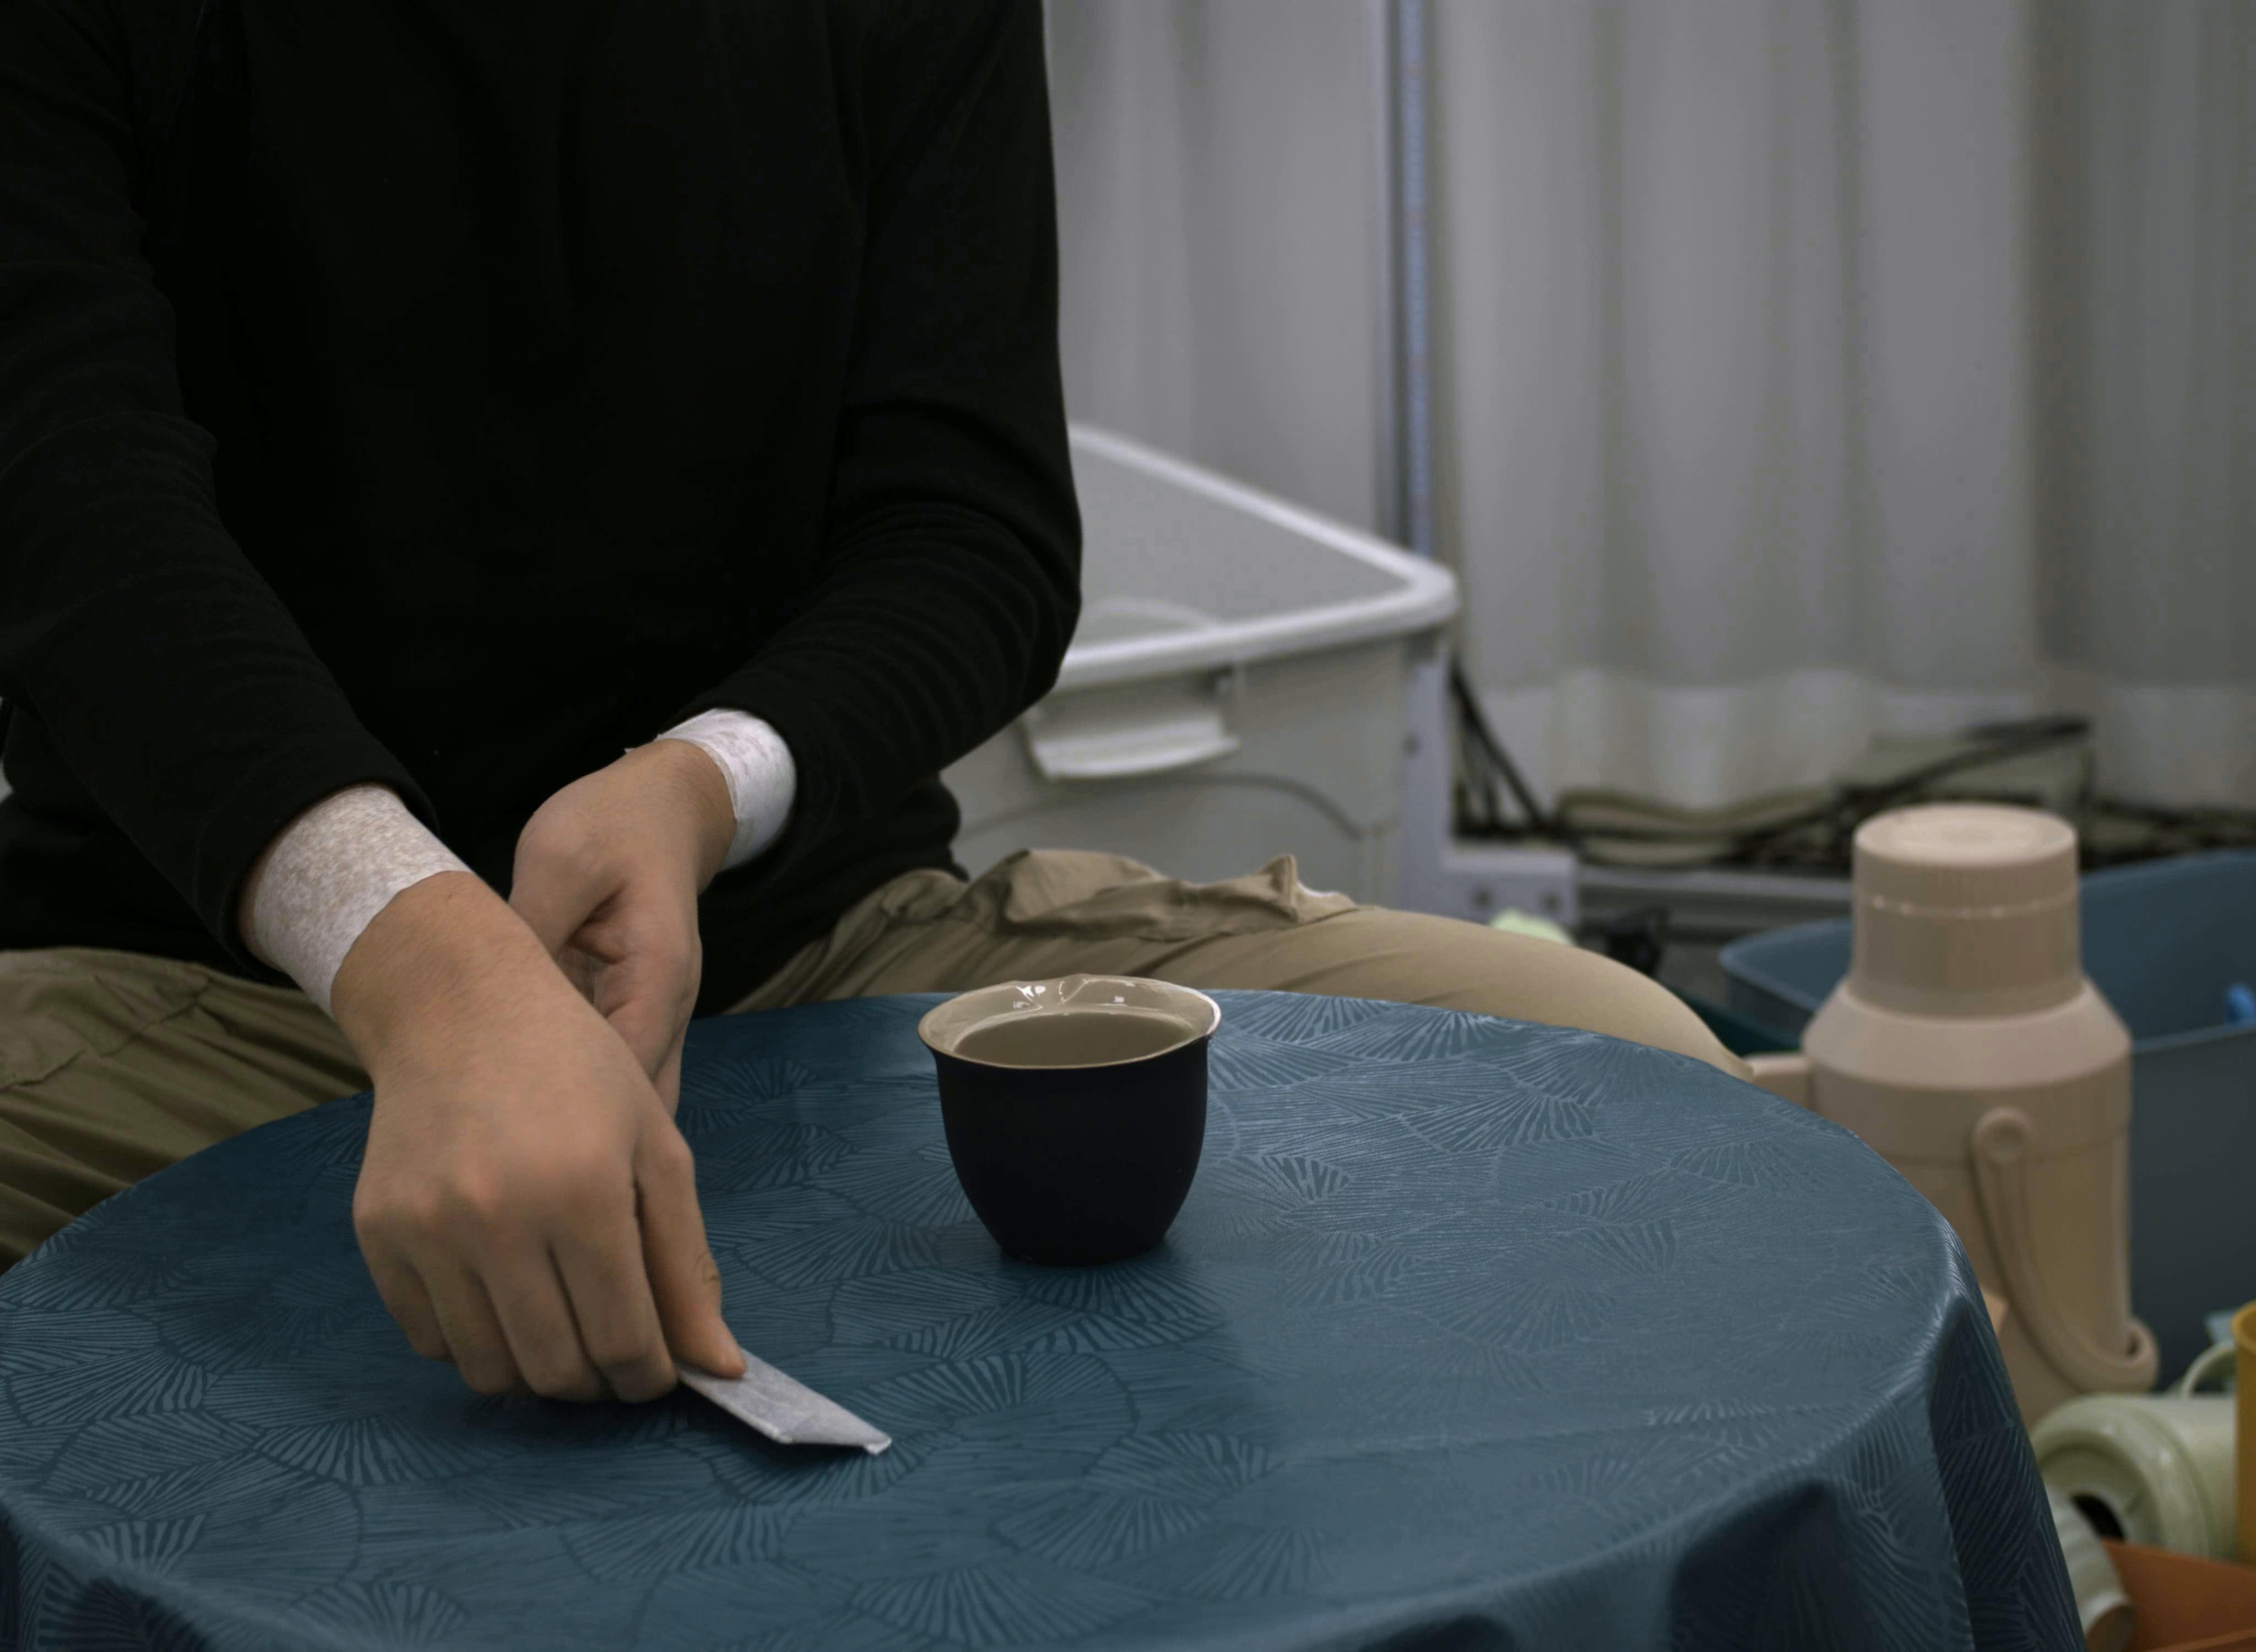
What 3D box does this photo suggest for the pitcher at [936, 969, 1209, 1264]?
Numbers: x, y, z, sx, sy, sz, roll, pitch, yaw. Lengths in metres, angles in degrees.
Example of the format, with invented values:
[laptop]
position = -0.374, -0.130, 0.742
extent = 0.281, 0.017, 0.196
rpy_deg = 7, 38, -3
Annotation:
[pitcher]
position = -0.016, 0.090, 1.667
extent = 0.083, 0.071, 0.097
rpy_deg = -6, 15, -8

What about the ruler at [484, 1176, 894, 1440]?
[ruler]
position = -0.133, 0.138, 1.588
extent = 0.038, 0.024, 0.220
rpy_deg = -3, 12, -29
